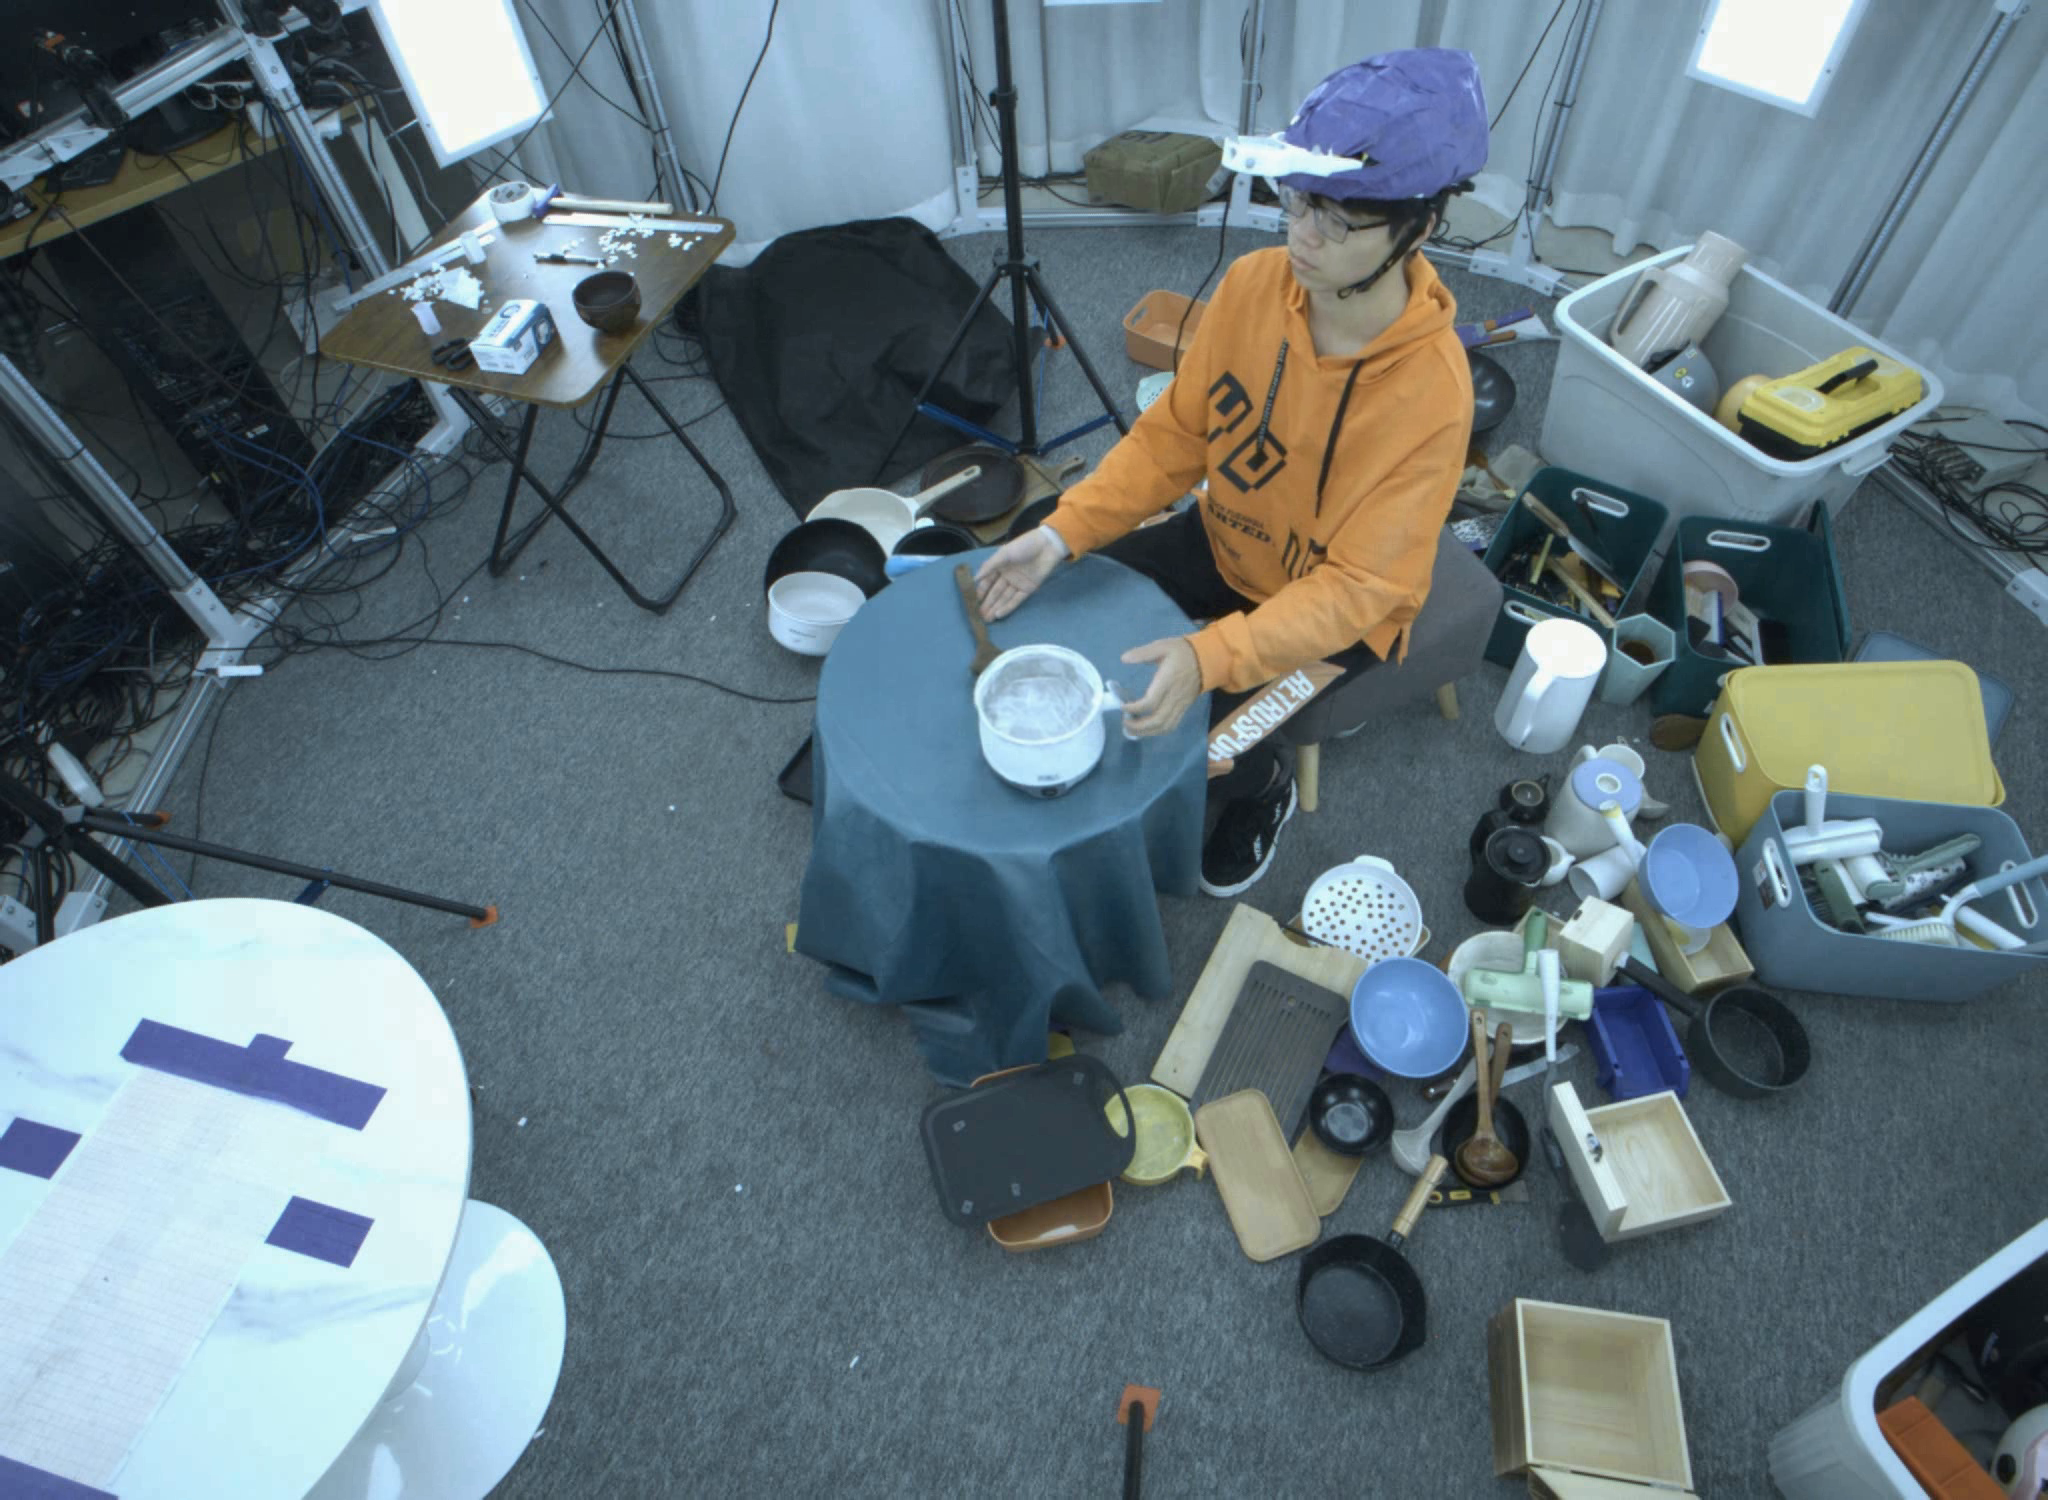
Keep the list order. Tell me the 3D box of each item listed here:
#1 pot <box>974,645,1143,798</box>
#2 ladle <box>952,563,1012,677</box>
[{"bbox_3d":[0.051,-0.043,1.731,0.234,0.138,0.176,-8,55,-2],"label":"pot"},{"bbox_3d":[-0.075,-0.216,1.899,0.076,0.072,0.270,-11,56,-8],"label":"ladle"}]
